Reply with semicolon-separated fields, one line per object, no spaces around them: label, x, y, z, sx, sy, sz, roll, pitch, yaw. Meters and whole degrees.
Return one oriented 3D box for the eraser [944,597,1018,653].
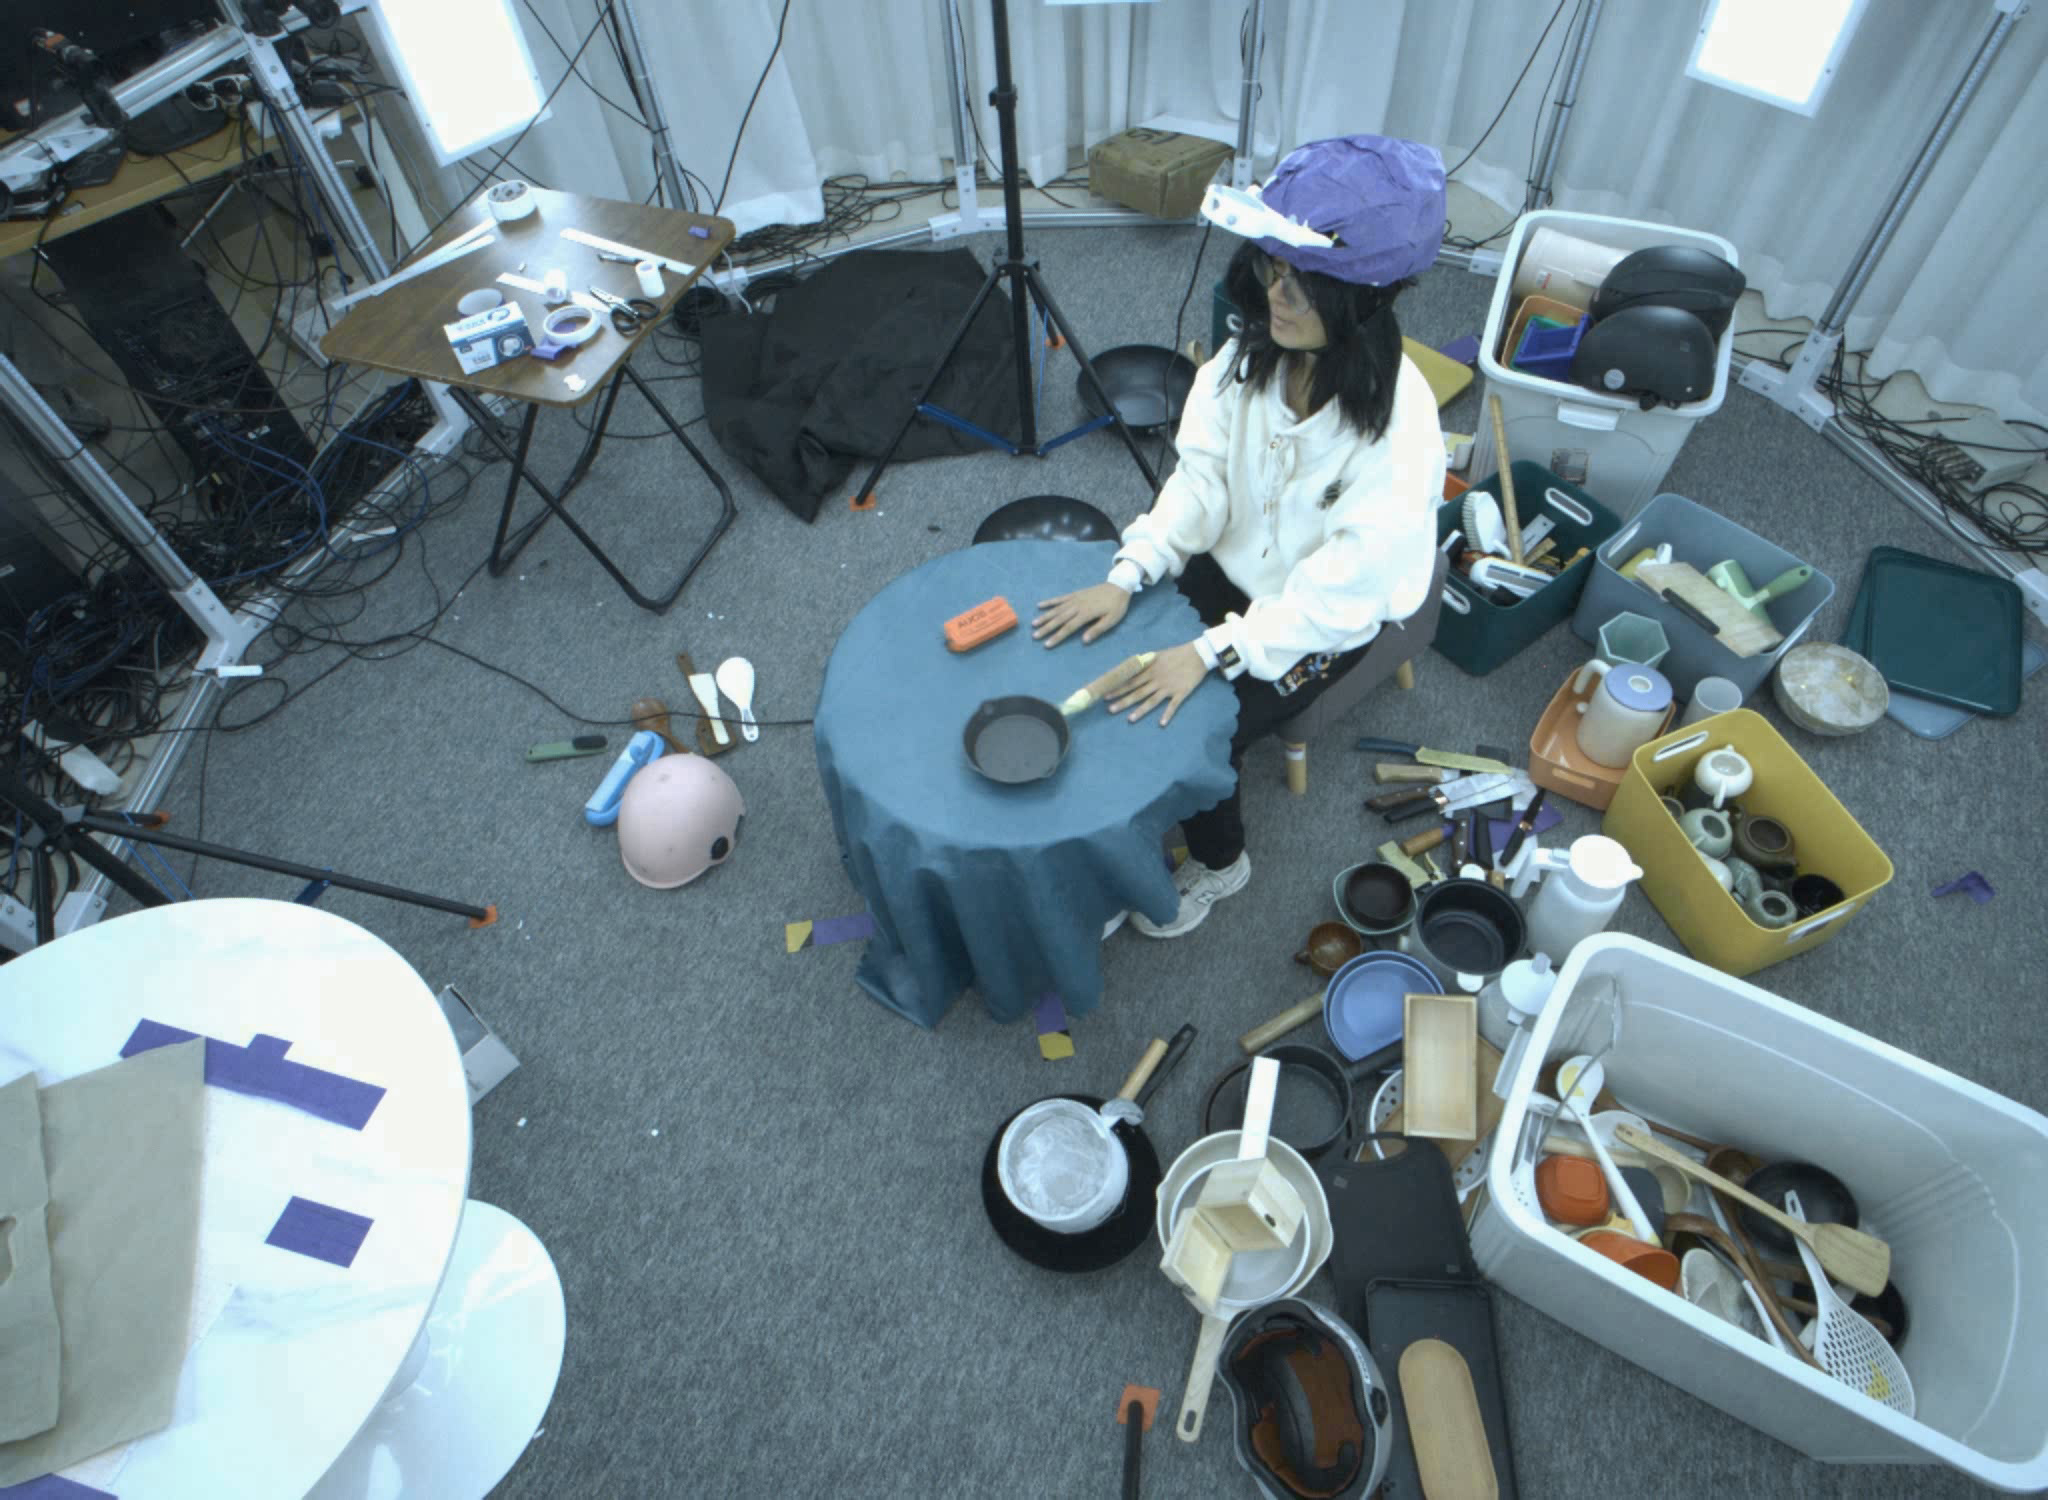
eraser;-0.068;-0.195;1.913;0.109;0.023;0.058;-28;59;-17

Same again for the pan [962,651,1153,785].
pan;0.060;-0.055;1.794;0.326;0.050;0.166;-31;59;-17
